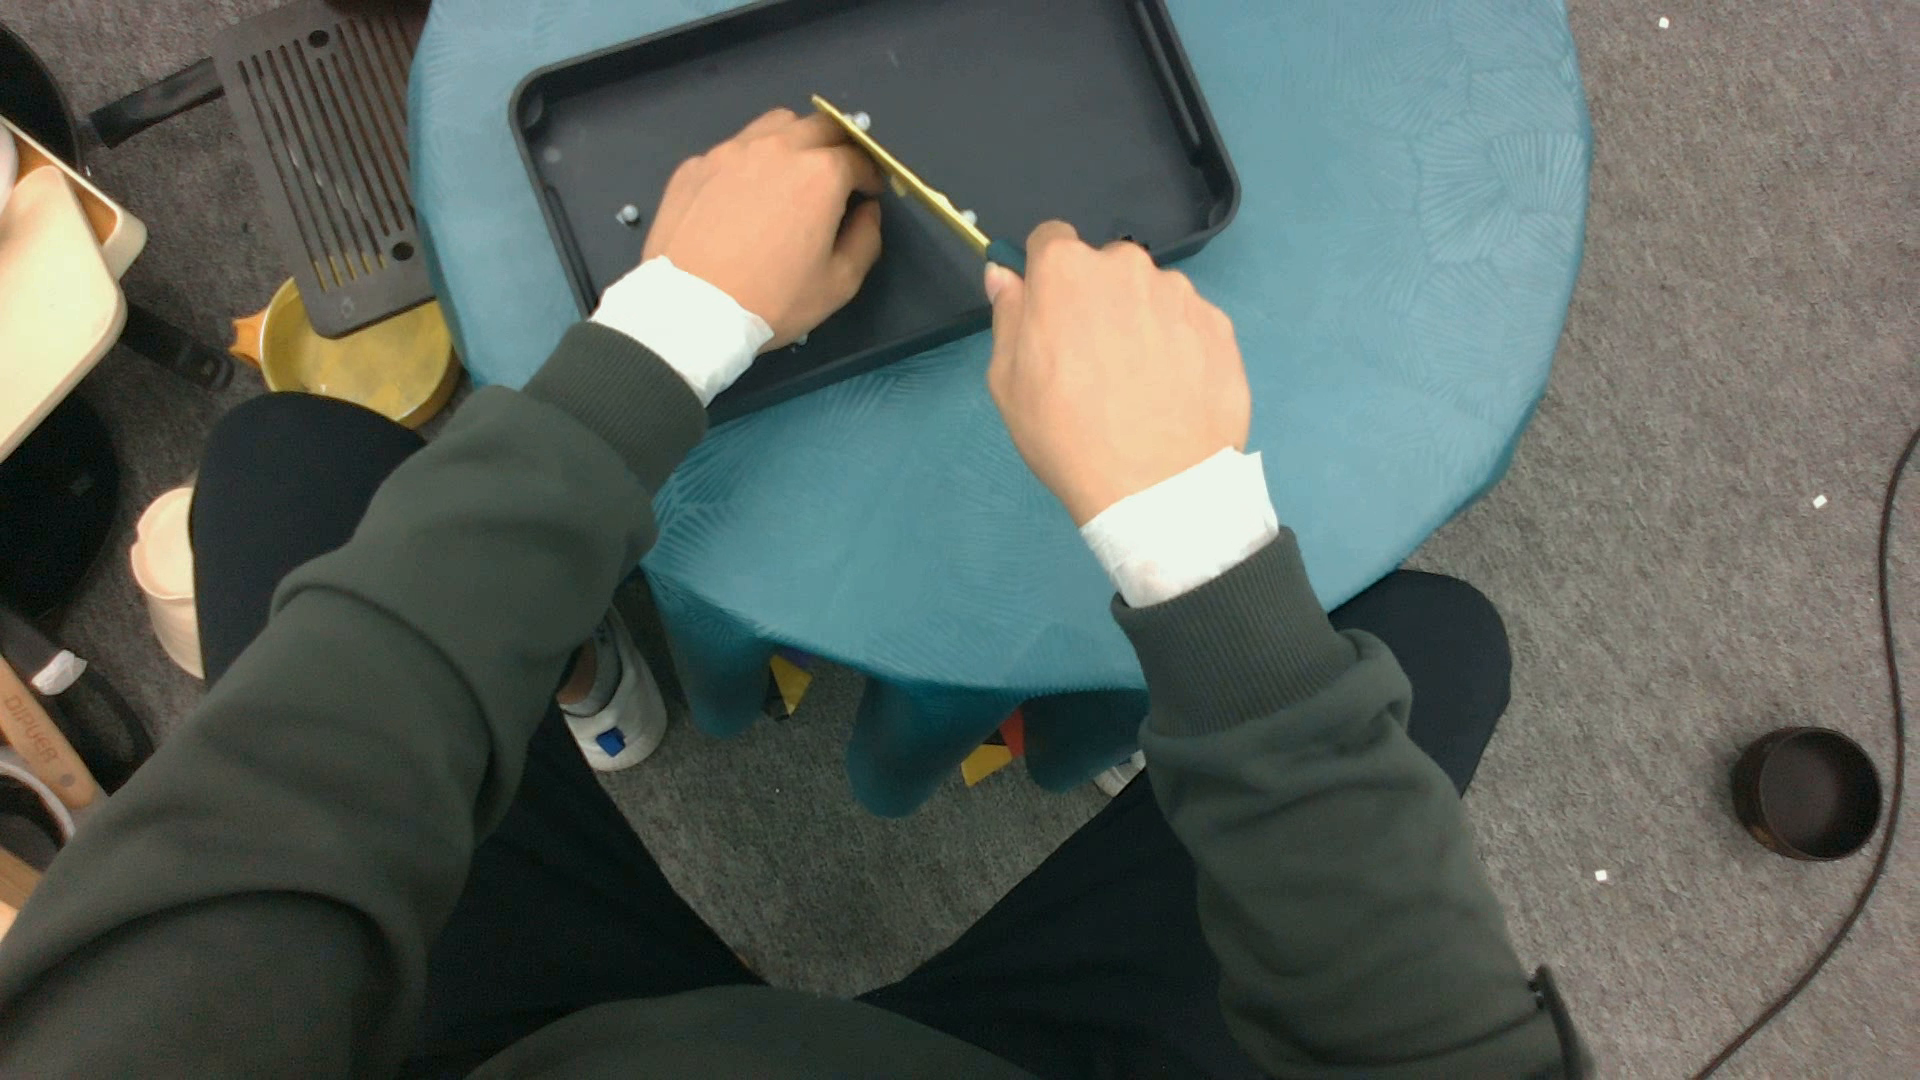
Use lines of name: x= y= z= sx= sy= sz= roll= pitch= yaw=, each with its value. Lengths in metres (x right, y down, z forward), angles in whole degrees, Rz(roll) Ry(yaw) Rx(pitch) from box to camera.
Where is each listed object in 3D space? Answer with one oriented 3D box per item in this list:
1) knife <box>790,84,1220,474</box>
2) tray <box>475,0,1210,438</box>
knife: x=0.010 y=-0.121 z=0.592 sx=0.027 sy=0.081 sz=0.290 roll=-48 pitch=61 yaw=8
tray: x=-0.053 y=-0.185 z=0.670 sx=0.318 sy=0.037 sz=0.184 roll=-23 pitch=84 yaw=-9
